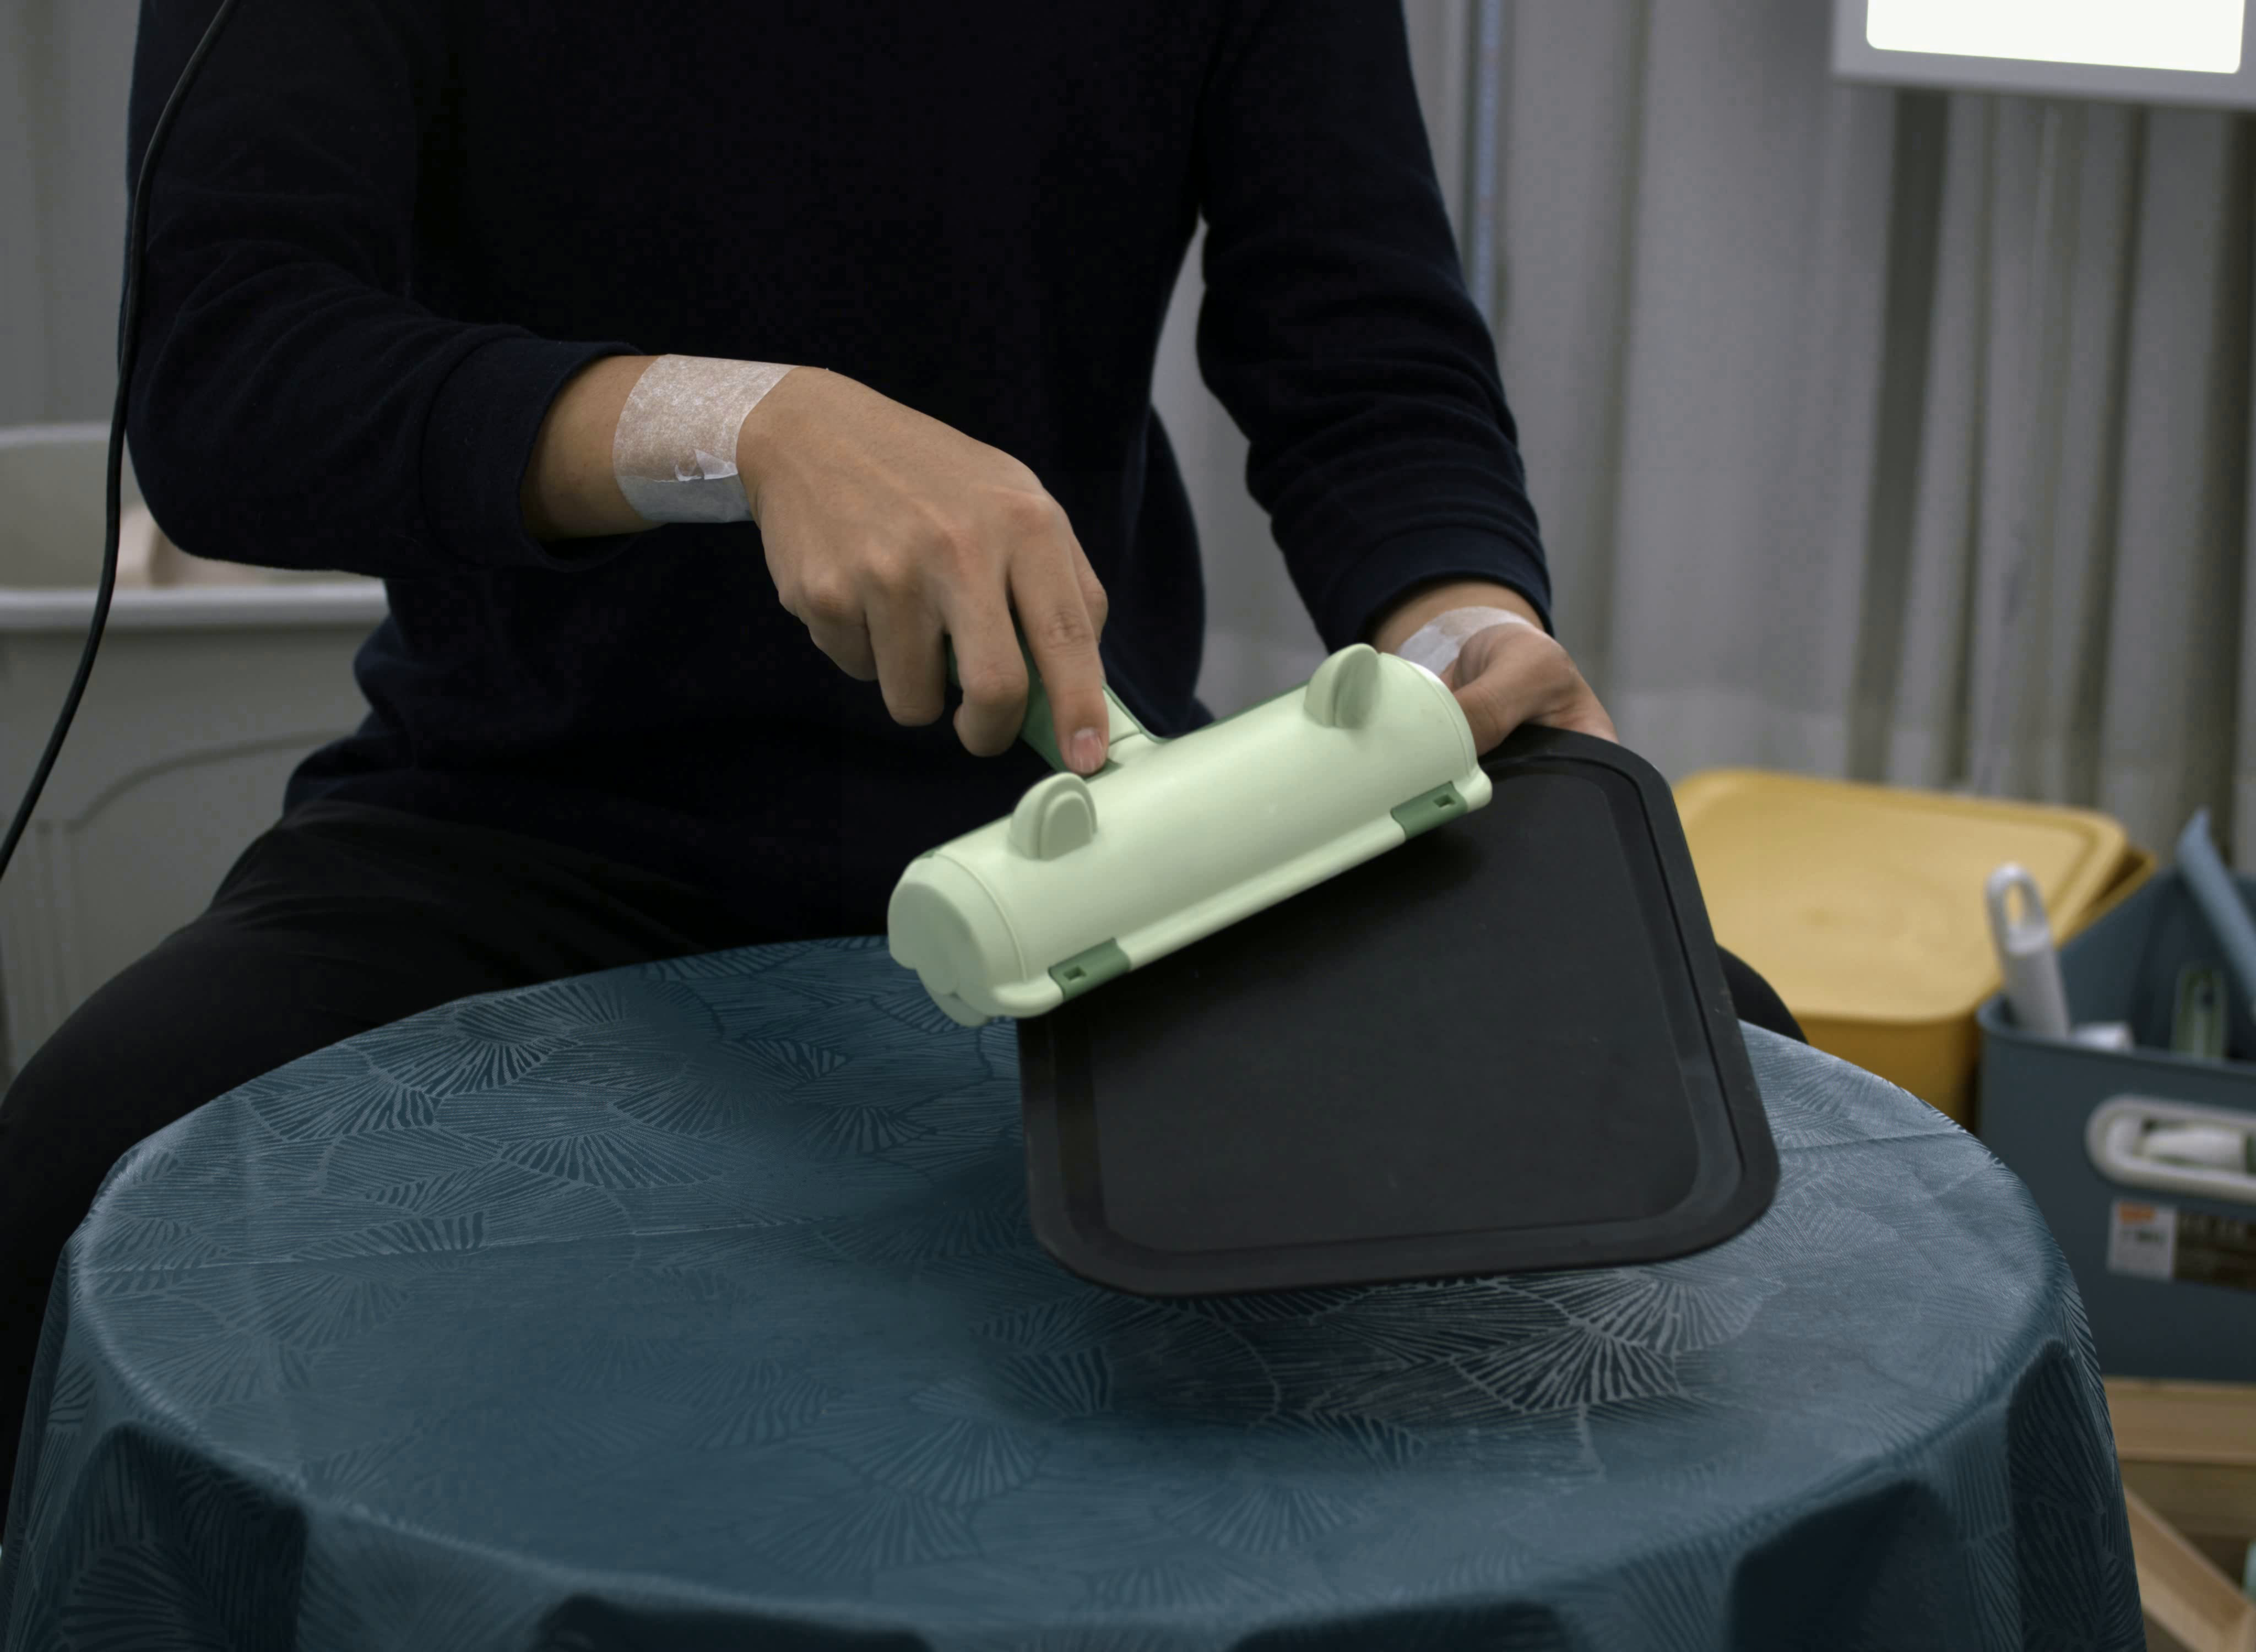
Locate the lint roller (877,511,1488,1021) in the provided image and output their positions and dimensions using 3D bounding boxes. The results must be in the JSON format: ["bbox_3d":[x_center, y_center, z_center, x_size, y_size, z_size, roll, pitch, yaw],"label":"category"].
[{"bbox_3d":[-0.012,-0.044,1.589,0.199,0.082,0.182,-25,68,-34],"label":"lint roller"}]

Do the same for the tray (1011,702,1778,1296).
[{"bbox_3d":[0.070,0.041,1.559,0.210,0.010,0.322,-3,30,-1],"label":"tray"}]
